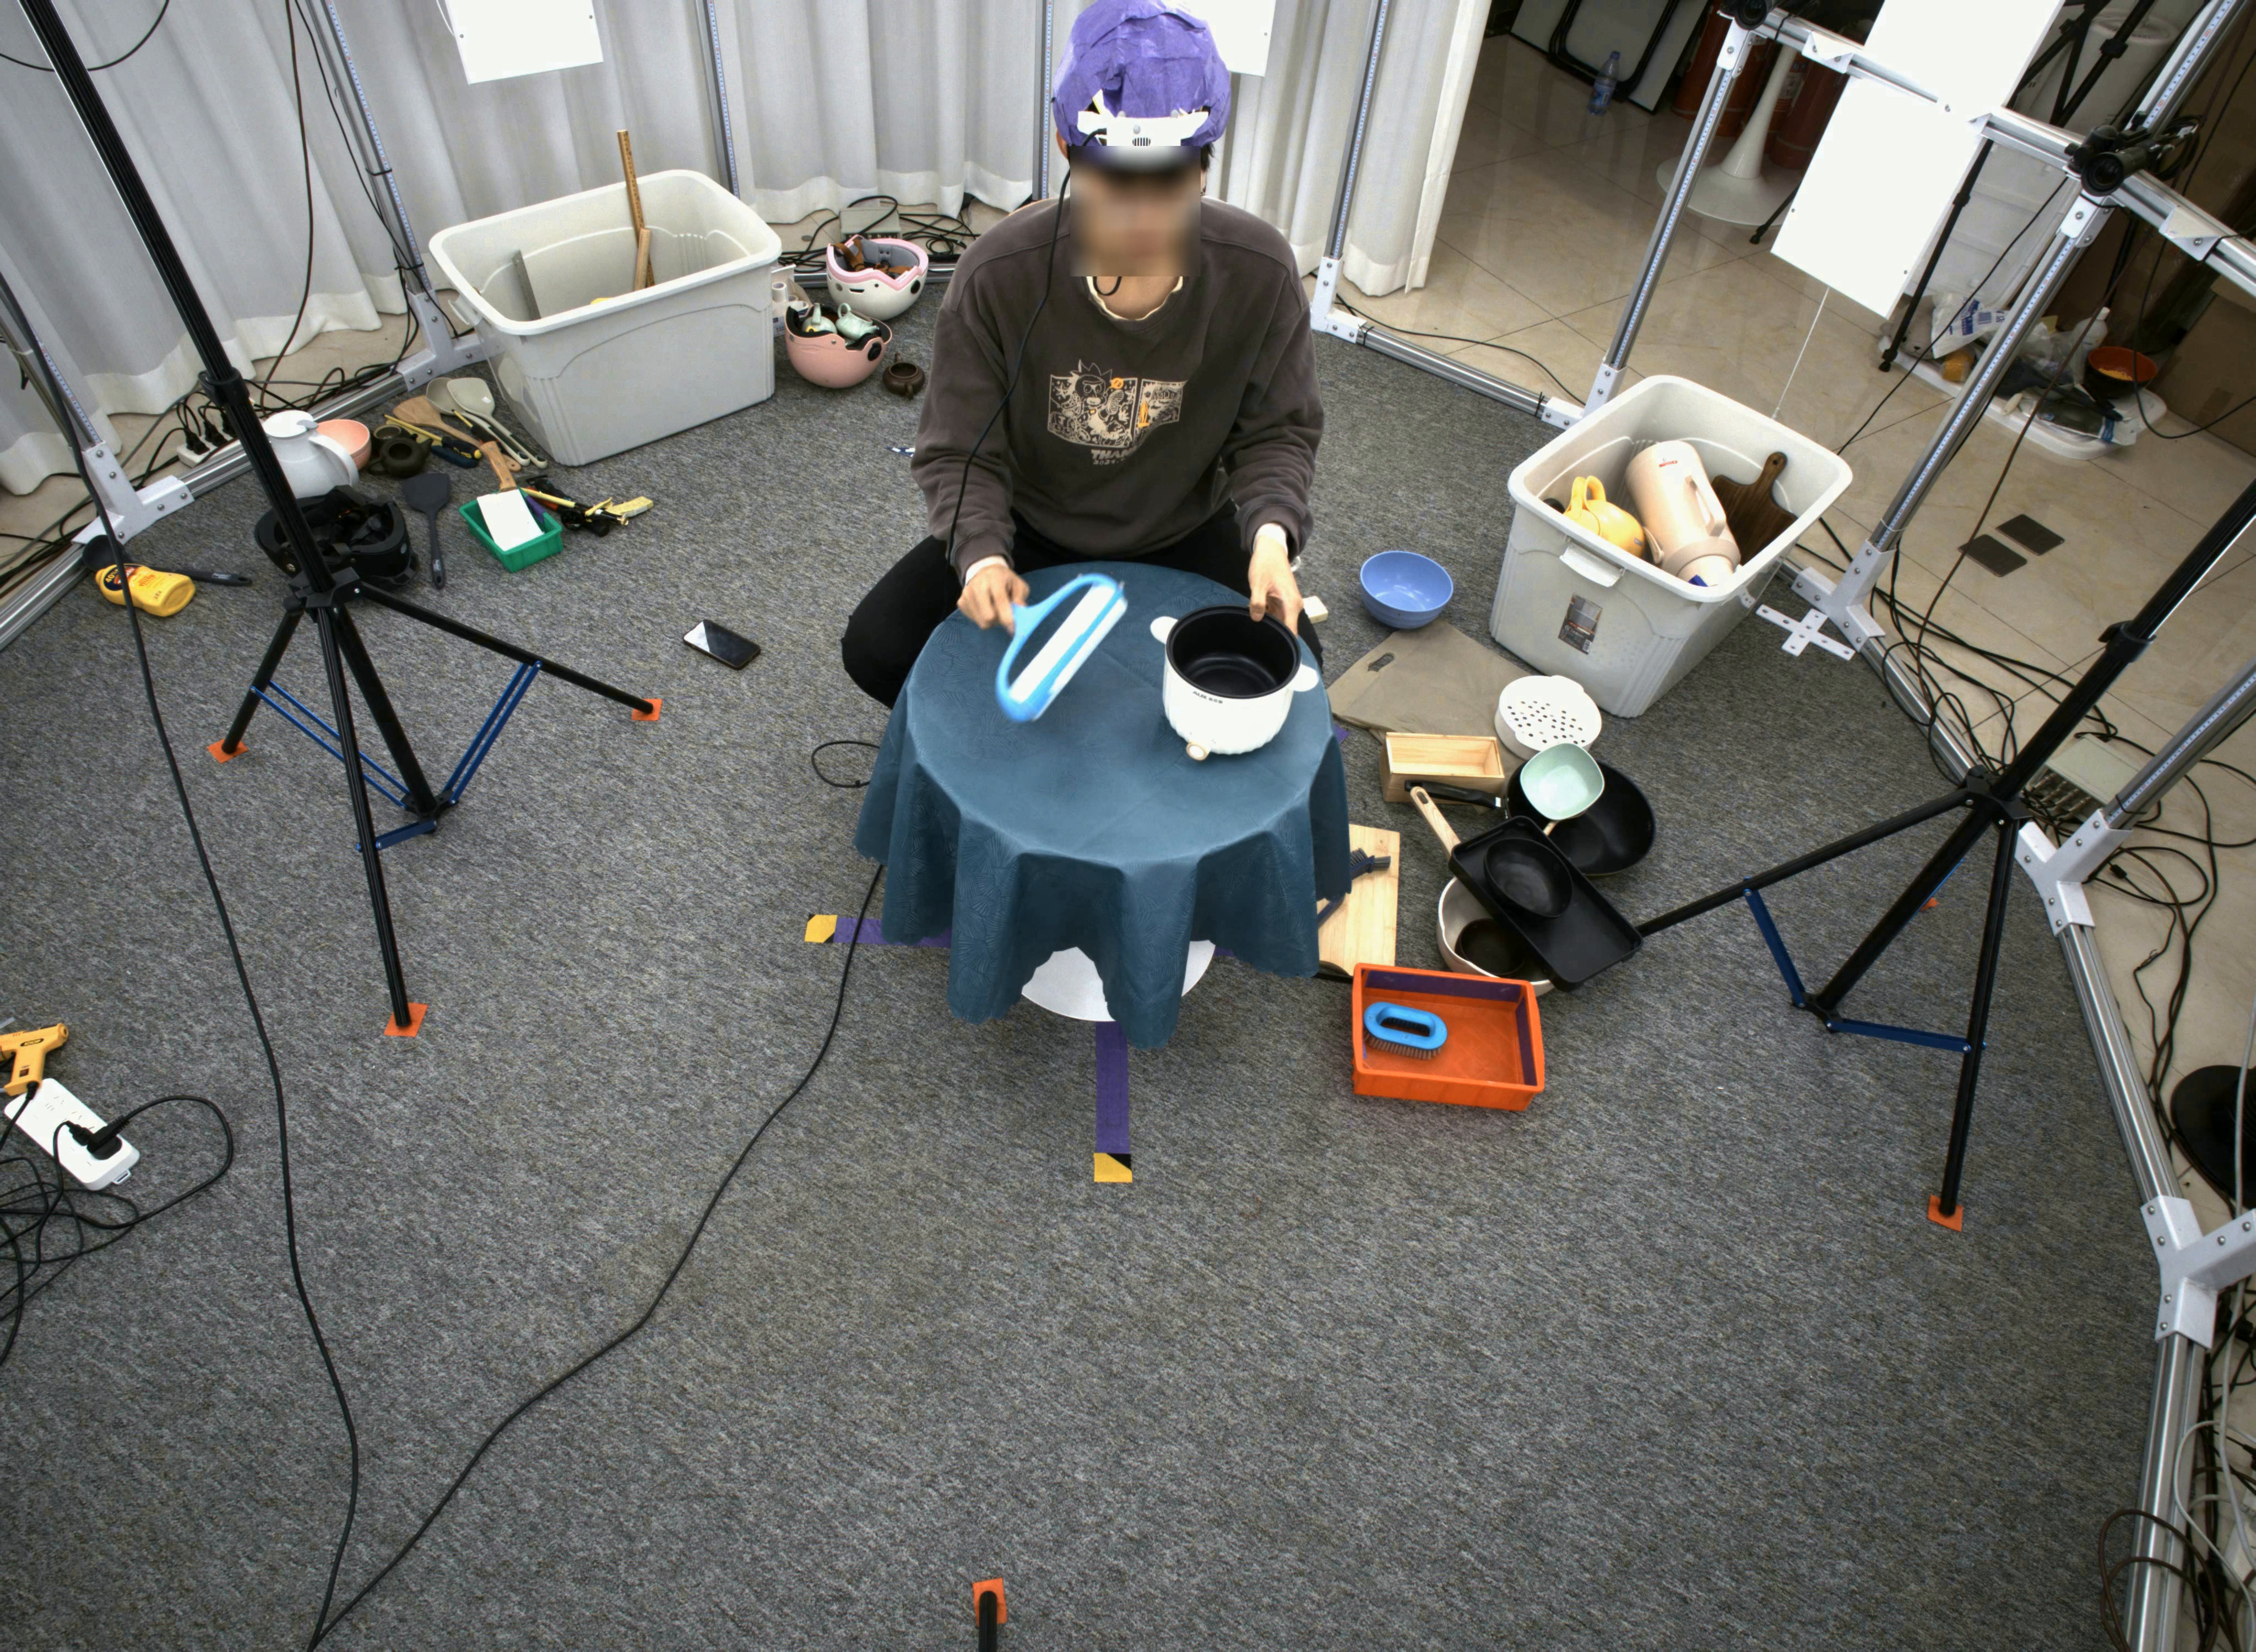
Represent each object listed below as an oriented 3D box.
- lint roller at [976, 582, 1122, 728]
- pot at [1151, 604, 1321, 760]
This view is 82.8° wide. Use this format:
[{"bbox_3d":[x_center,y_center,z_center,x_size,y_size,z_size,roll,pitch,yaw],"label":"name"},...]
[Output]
[{"bbox_3d":[-0.135,-0.252,1.692,0.182,0.067,0.230,34,77,17],"label":"lint roller"},{"bbox_3d":[0.137,-0.189,1.749,0.242,0.139,0.194,20,48,15],"label":"pot"}]
